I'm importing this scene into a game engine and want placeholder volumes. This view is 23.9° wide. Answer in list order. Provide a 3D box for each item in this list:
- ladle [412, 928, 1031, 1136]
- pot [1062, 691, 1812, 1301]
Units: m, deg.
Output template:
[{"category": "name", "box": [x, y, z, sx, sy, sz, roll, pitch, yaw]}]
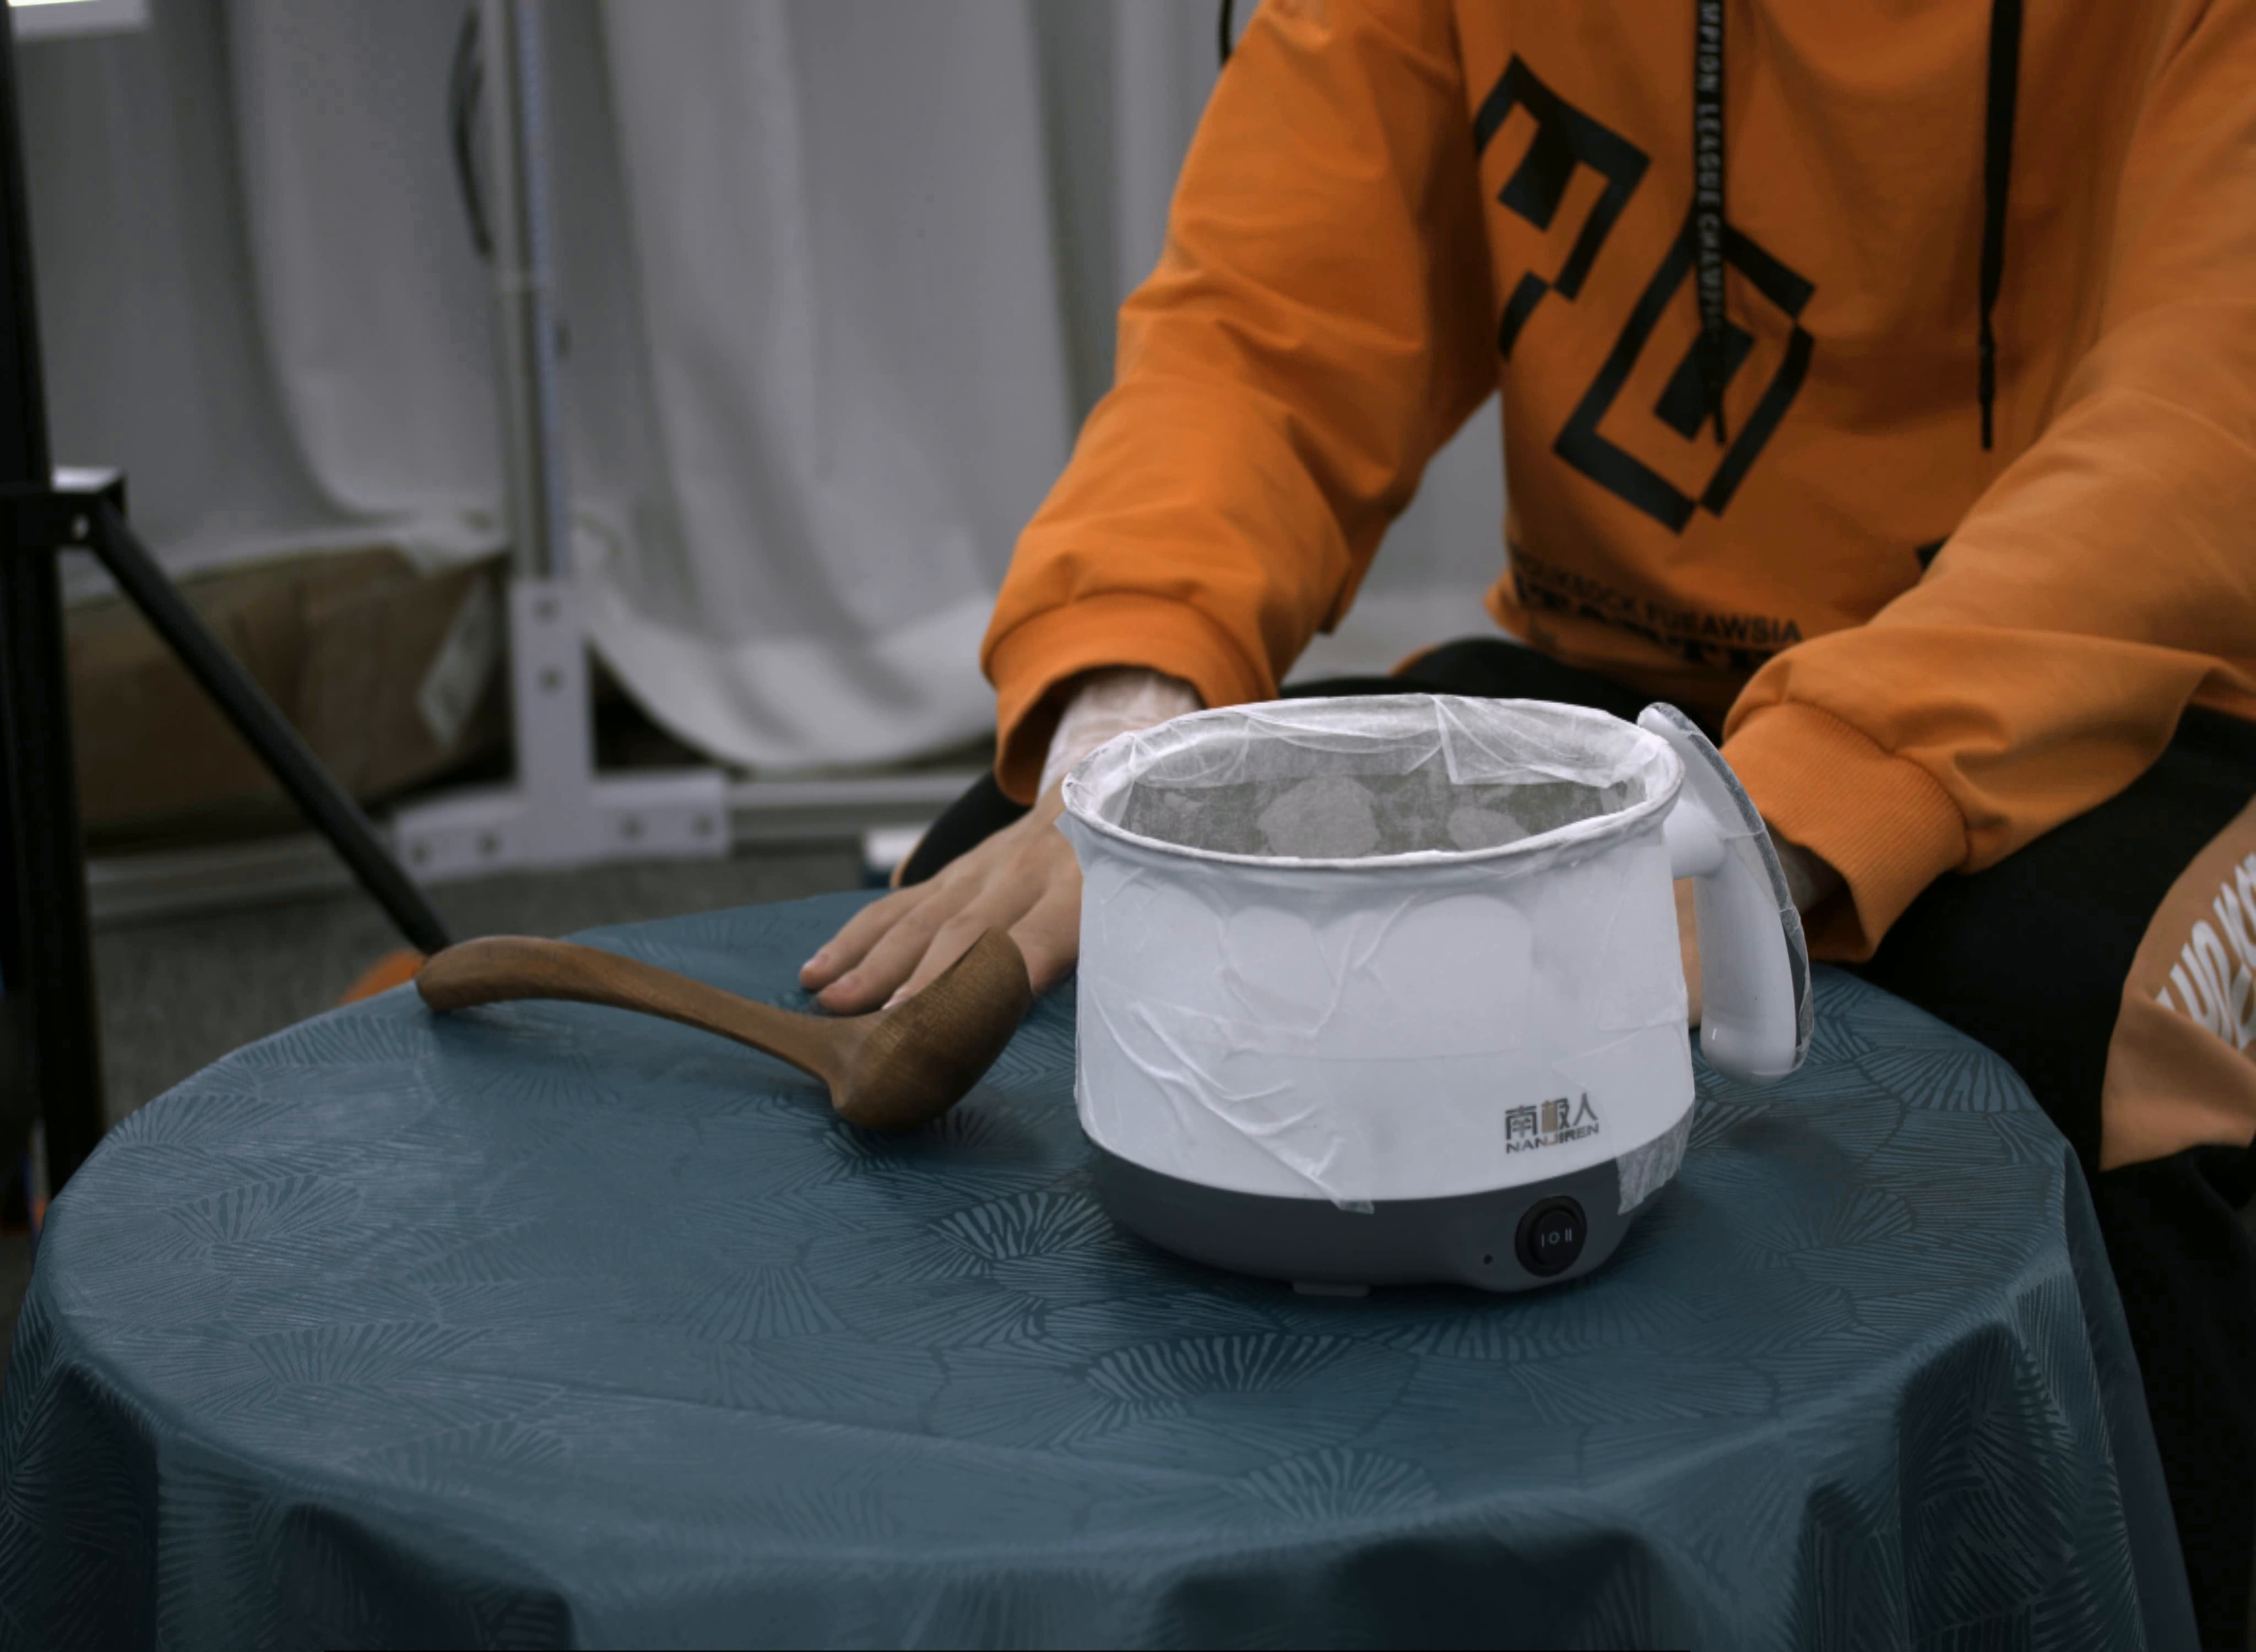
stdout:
[{"category": "ladle", "box": [-0.137, 0.049, 1.676, 0.266, 0.064, 0.075, 11, 42, 38]}, {"category": "pot", "box": [0.096, 0.042, 1.524, 0.229, 0.136, 0.182, -11, 18, -28]}]
